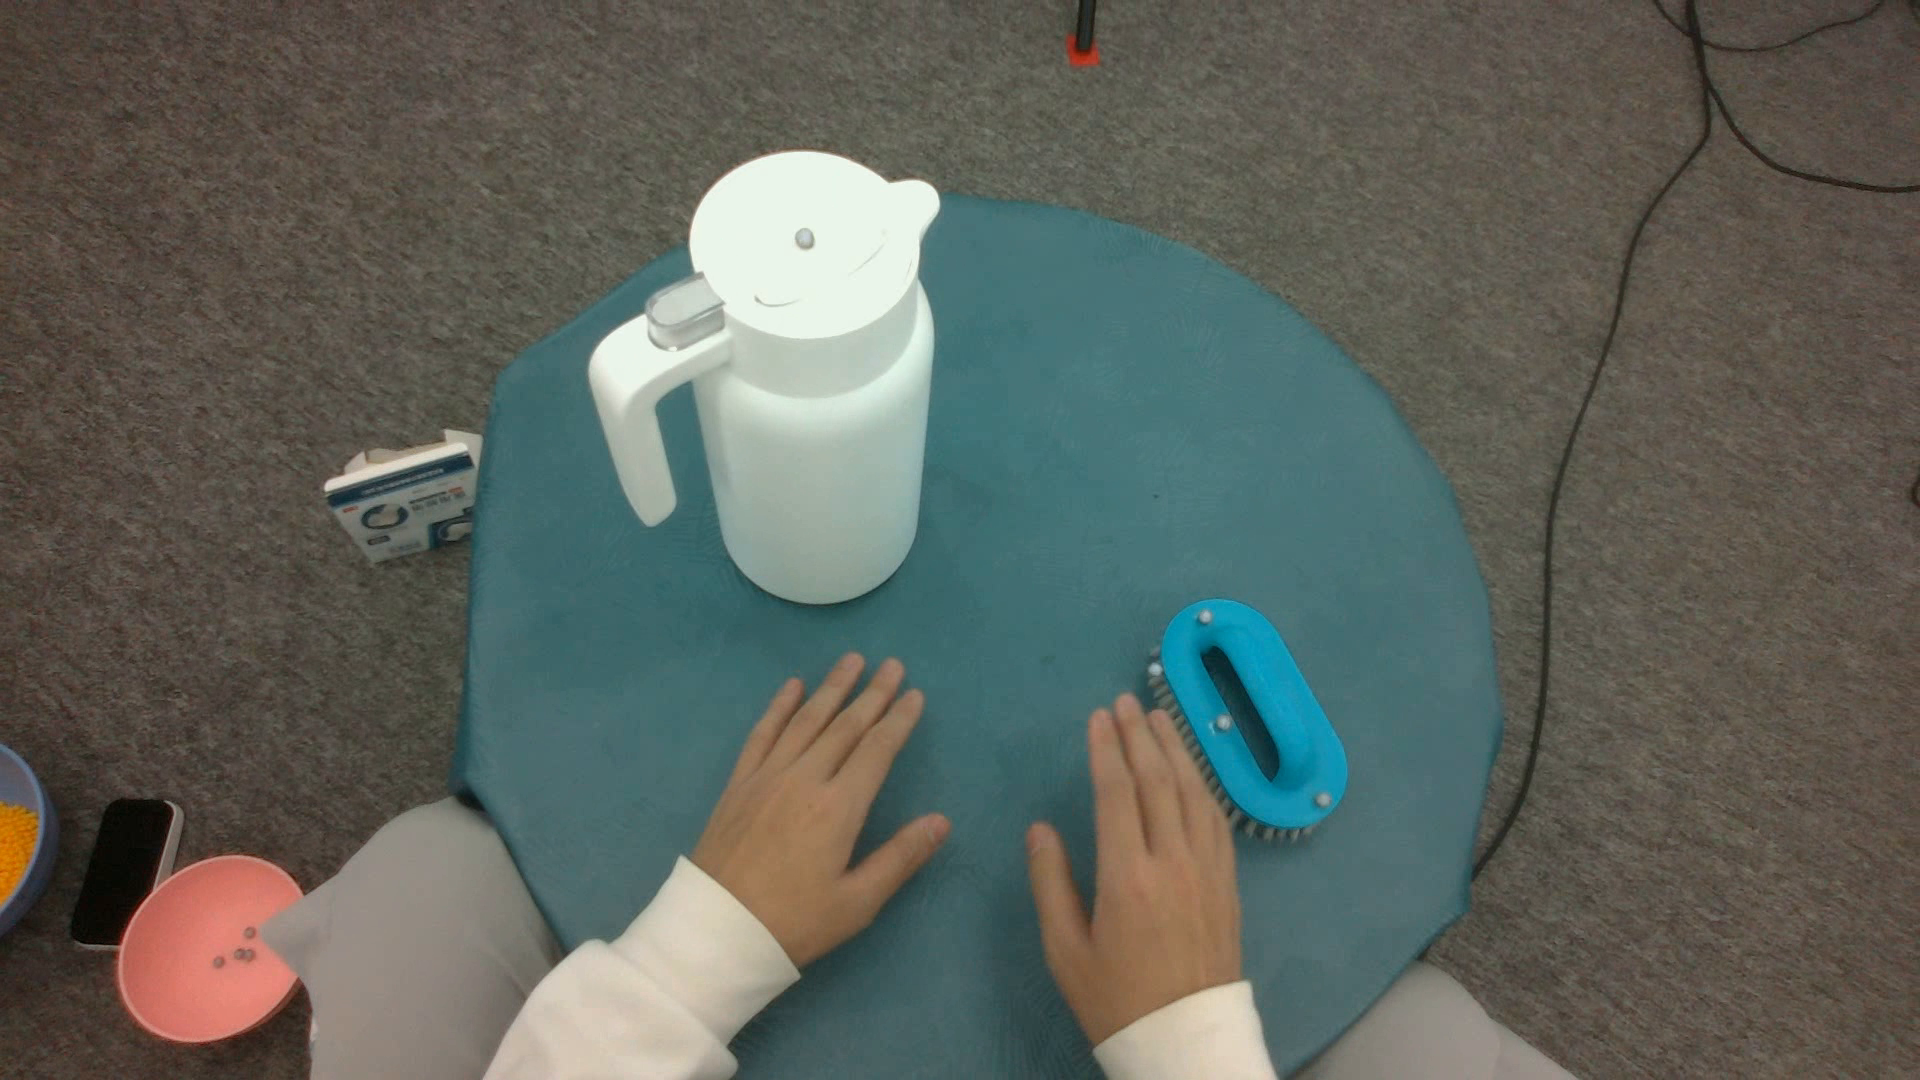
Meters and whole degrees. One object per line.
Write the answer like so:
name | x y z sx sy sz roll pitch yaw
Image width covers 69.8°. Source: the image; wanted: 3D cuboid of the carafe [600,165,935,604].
carafe | -0.087 -0.059 0.714 0.173 0.268 0.124 -33 72 -17

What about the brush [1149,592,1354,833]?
brush | 0.168 0.088 0.769 0.084 0.063 0.142 -17 67 -17
